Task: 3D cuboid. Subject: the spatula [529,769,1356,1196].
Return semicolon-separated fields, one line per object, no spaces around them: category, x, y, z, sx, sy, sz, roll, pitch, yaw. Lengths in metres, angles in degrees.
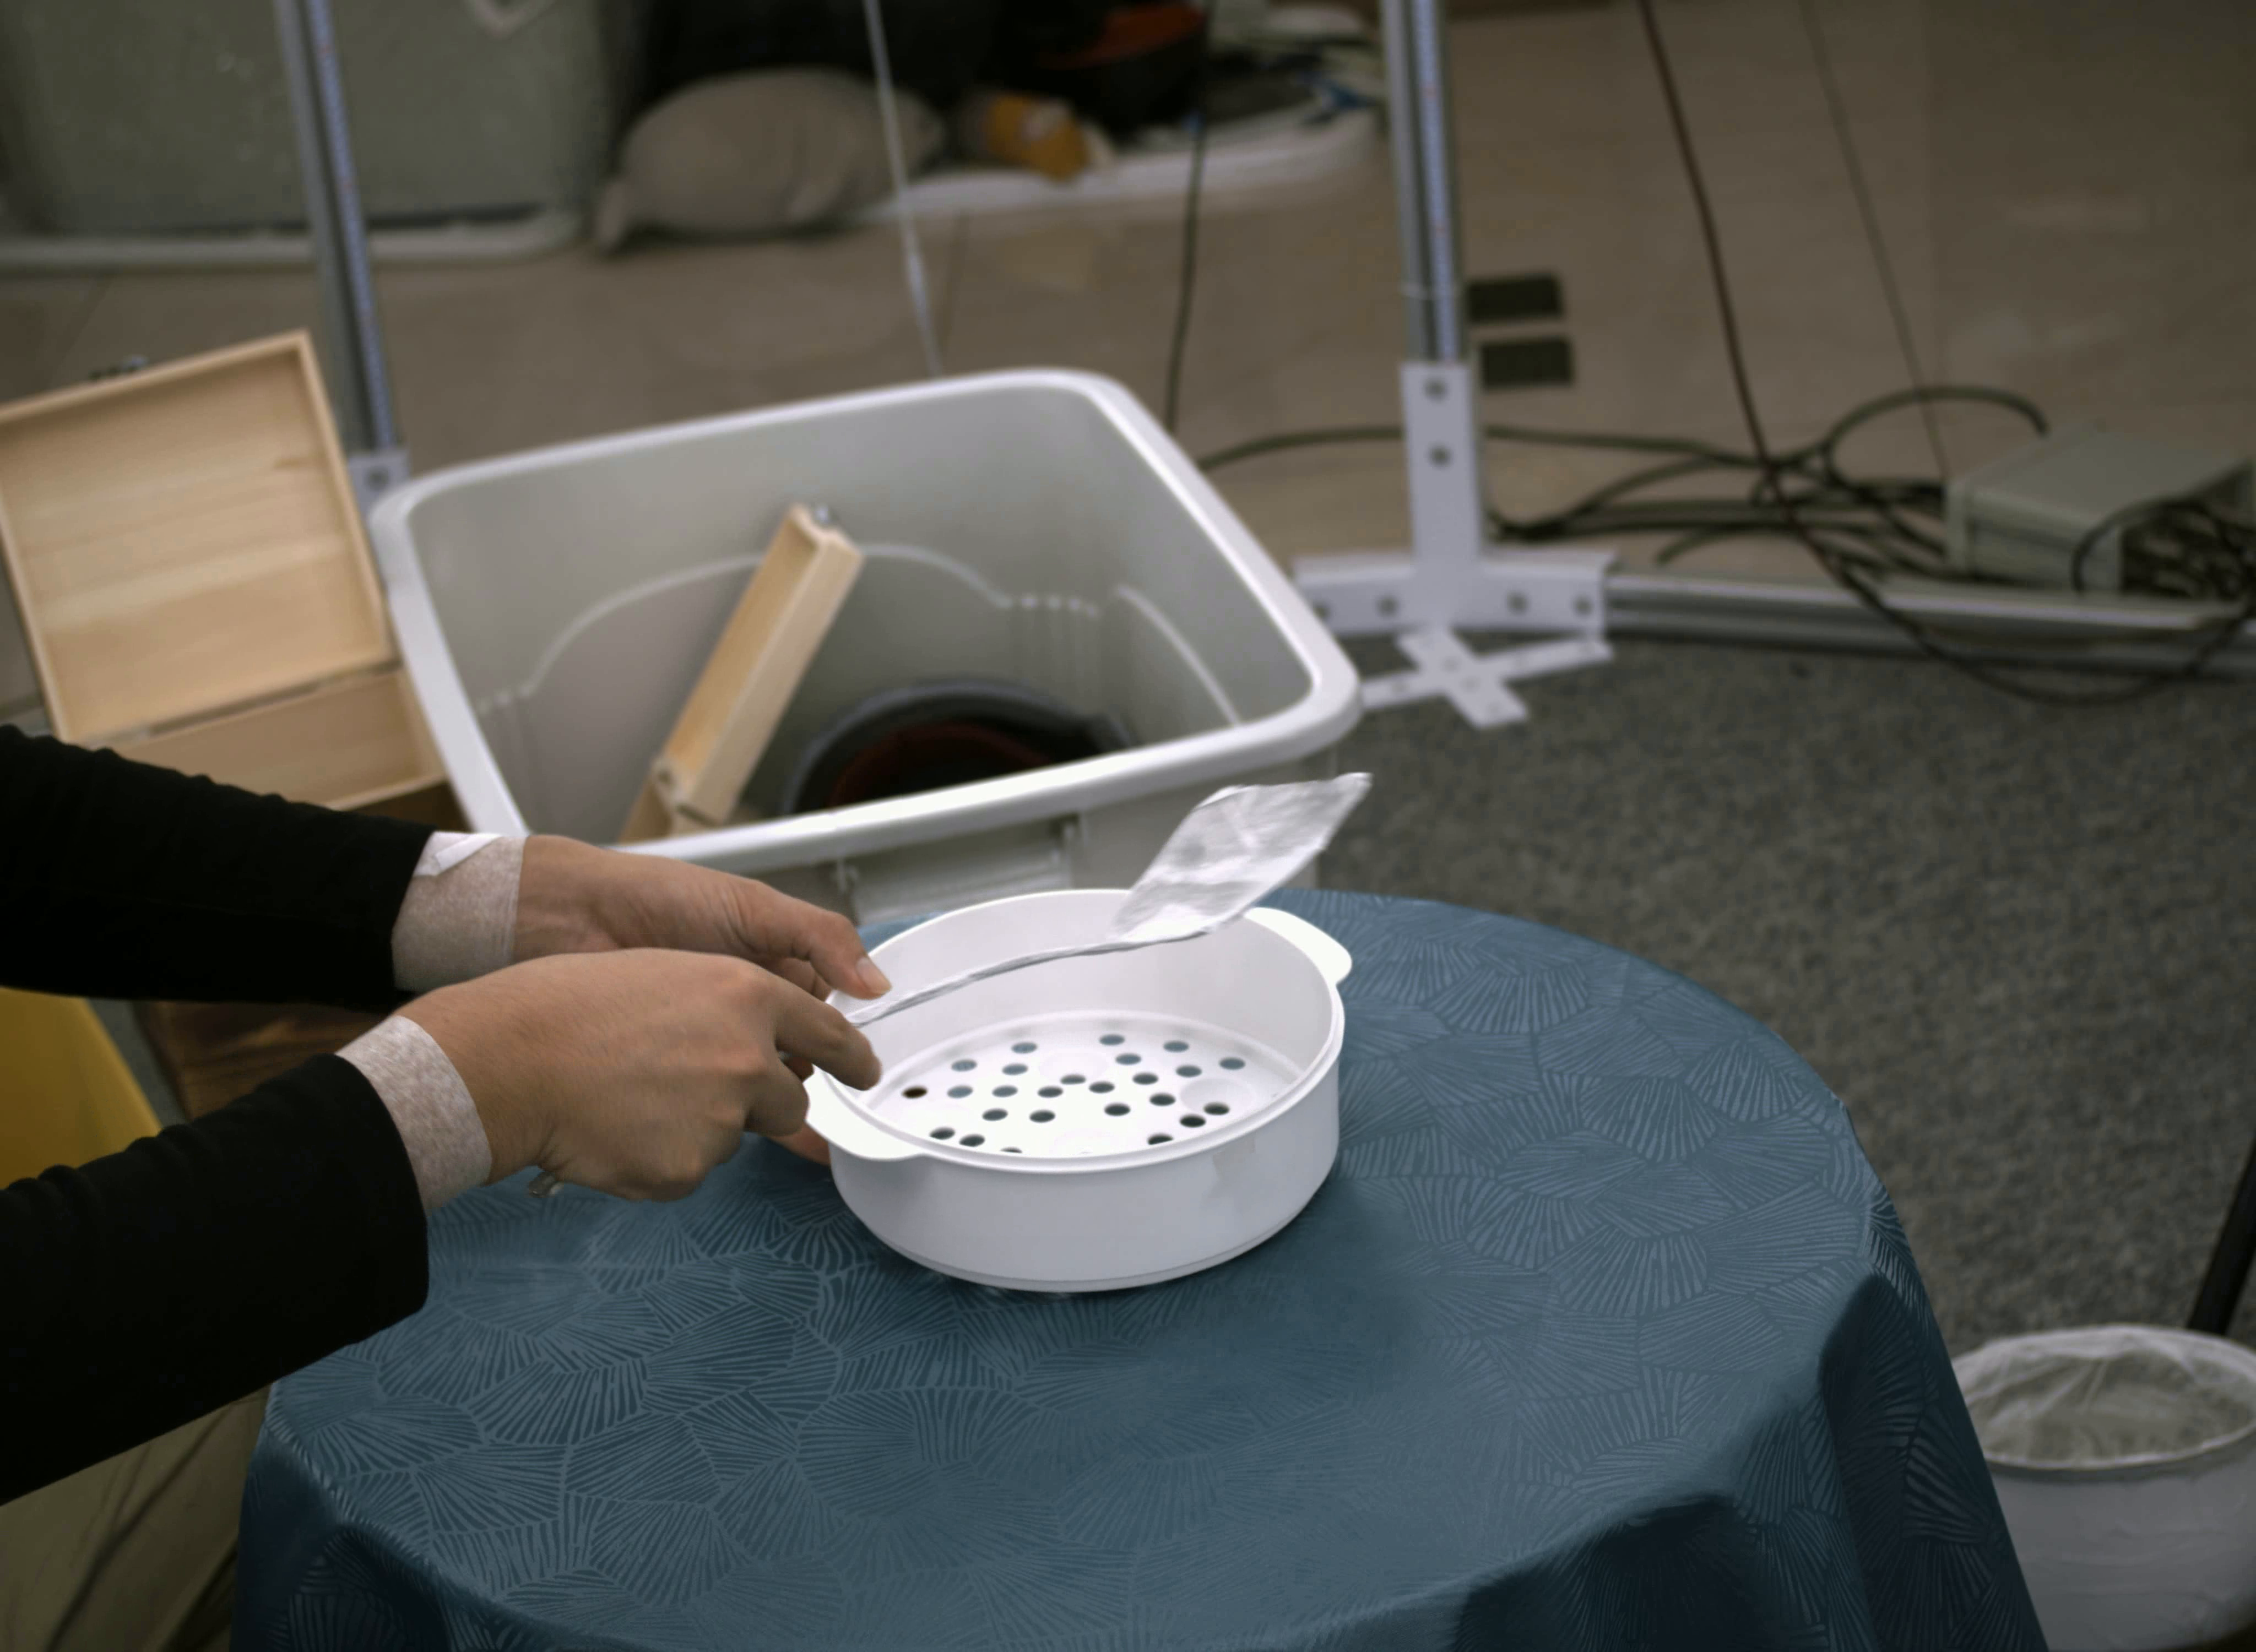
spatula;-0.065;0.051;1.983;0.362;0.045;0.099;-21;9;-38

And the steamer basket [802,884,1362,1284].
steamer basket;-0.014;0.098;2.142;0.229;0.070;0.199;-21;33;-28
